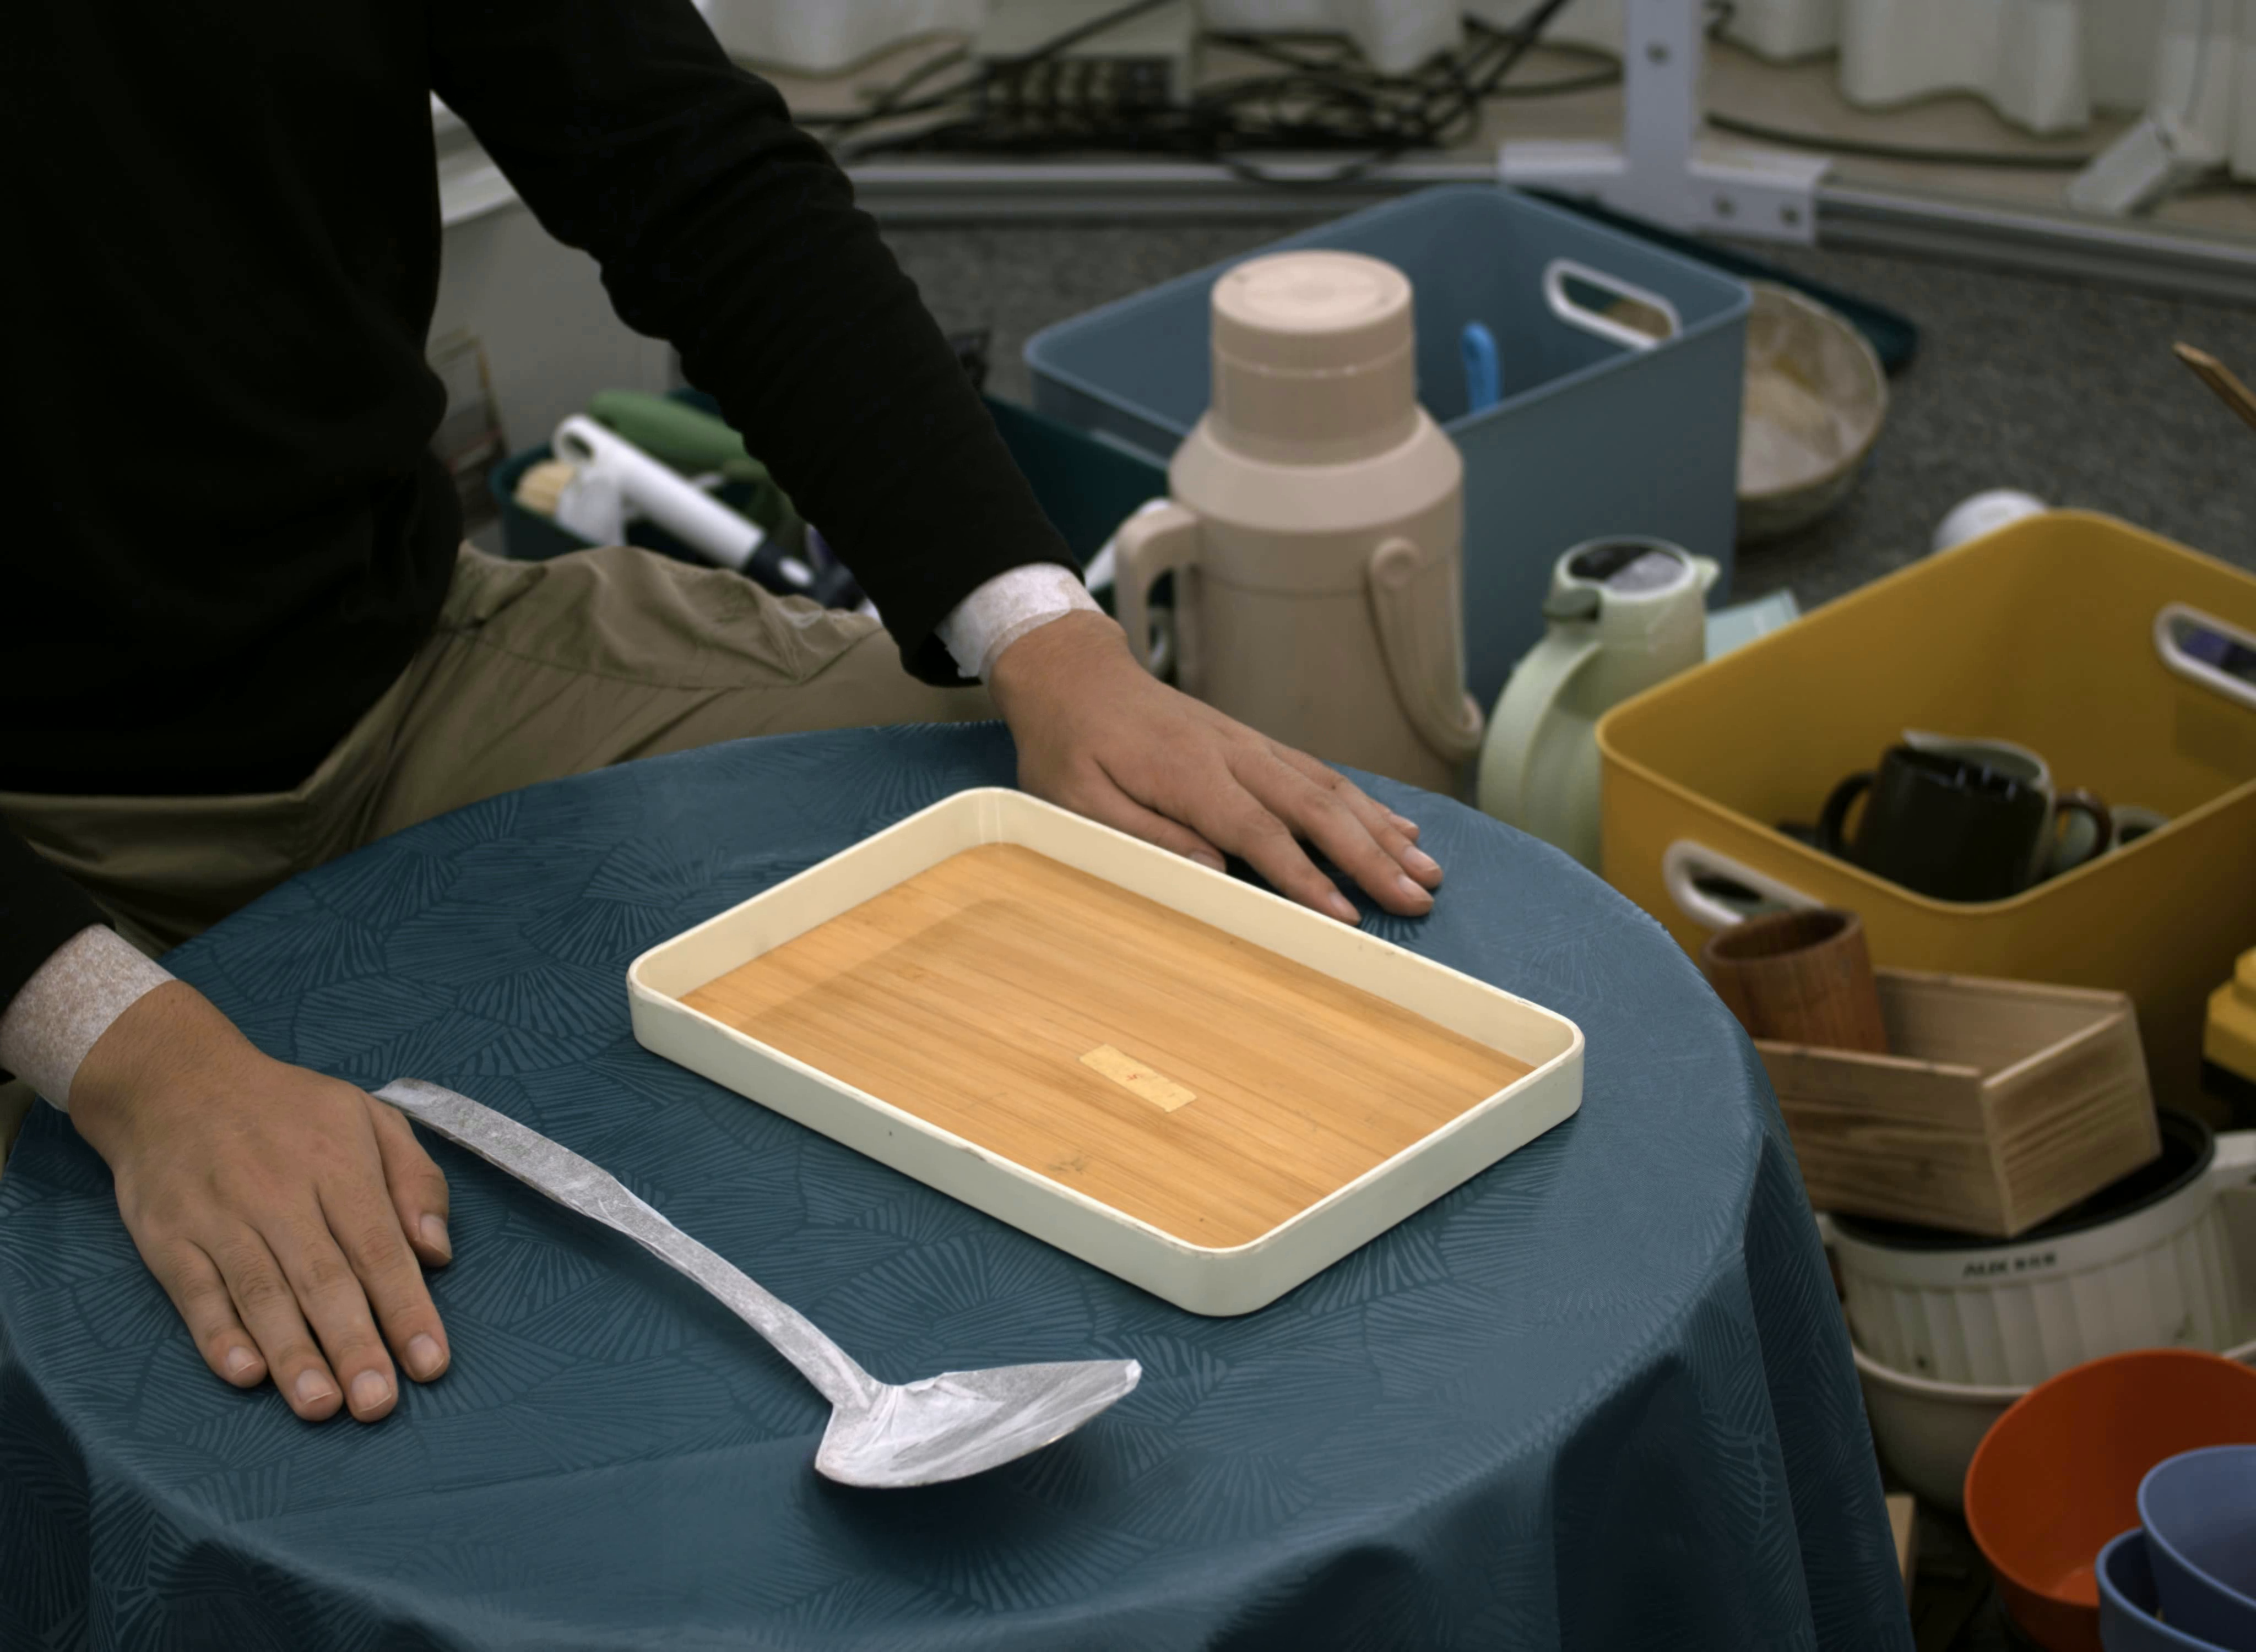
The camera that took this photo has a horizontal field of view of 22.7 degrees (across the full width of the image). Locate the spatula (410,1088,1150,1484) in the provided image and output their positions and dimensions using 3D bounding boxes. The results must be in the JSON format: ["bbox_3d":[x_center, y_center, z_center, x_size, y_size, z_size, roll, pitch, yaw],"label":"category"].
[{"bbox_3d":[-0.135,0.138,1.801,0.100,0.044,0.365,-23,34,-33],"label":"spatula"}]

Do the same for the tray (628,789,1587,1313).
[{"bbox_3d":[-0.010,0.072,1.929,0.300,0.027,0.194,22,37,40],"label":"tray"}]
